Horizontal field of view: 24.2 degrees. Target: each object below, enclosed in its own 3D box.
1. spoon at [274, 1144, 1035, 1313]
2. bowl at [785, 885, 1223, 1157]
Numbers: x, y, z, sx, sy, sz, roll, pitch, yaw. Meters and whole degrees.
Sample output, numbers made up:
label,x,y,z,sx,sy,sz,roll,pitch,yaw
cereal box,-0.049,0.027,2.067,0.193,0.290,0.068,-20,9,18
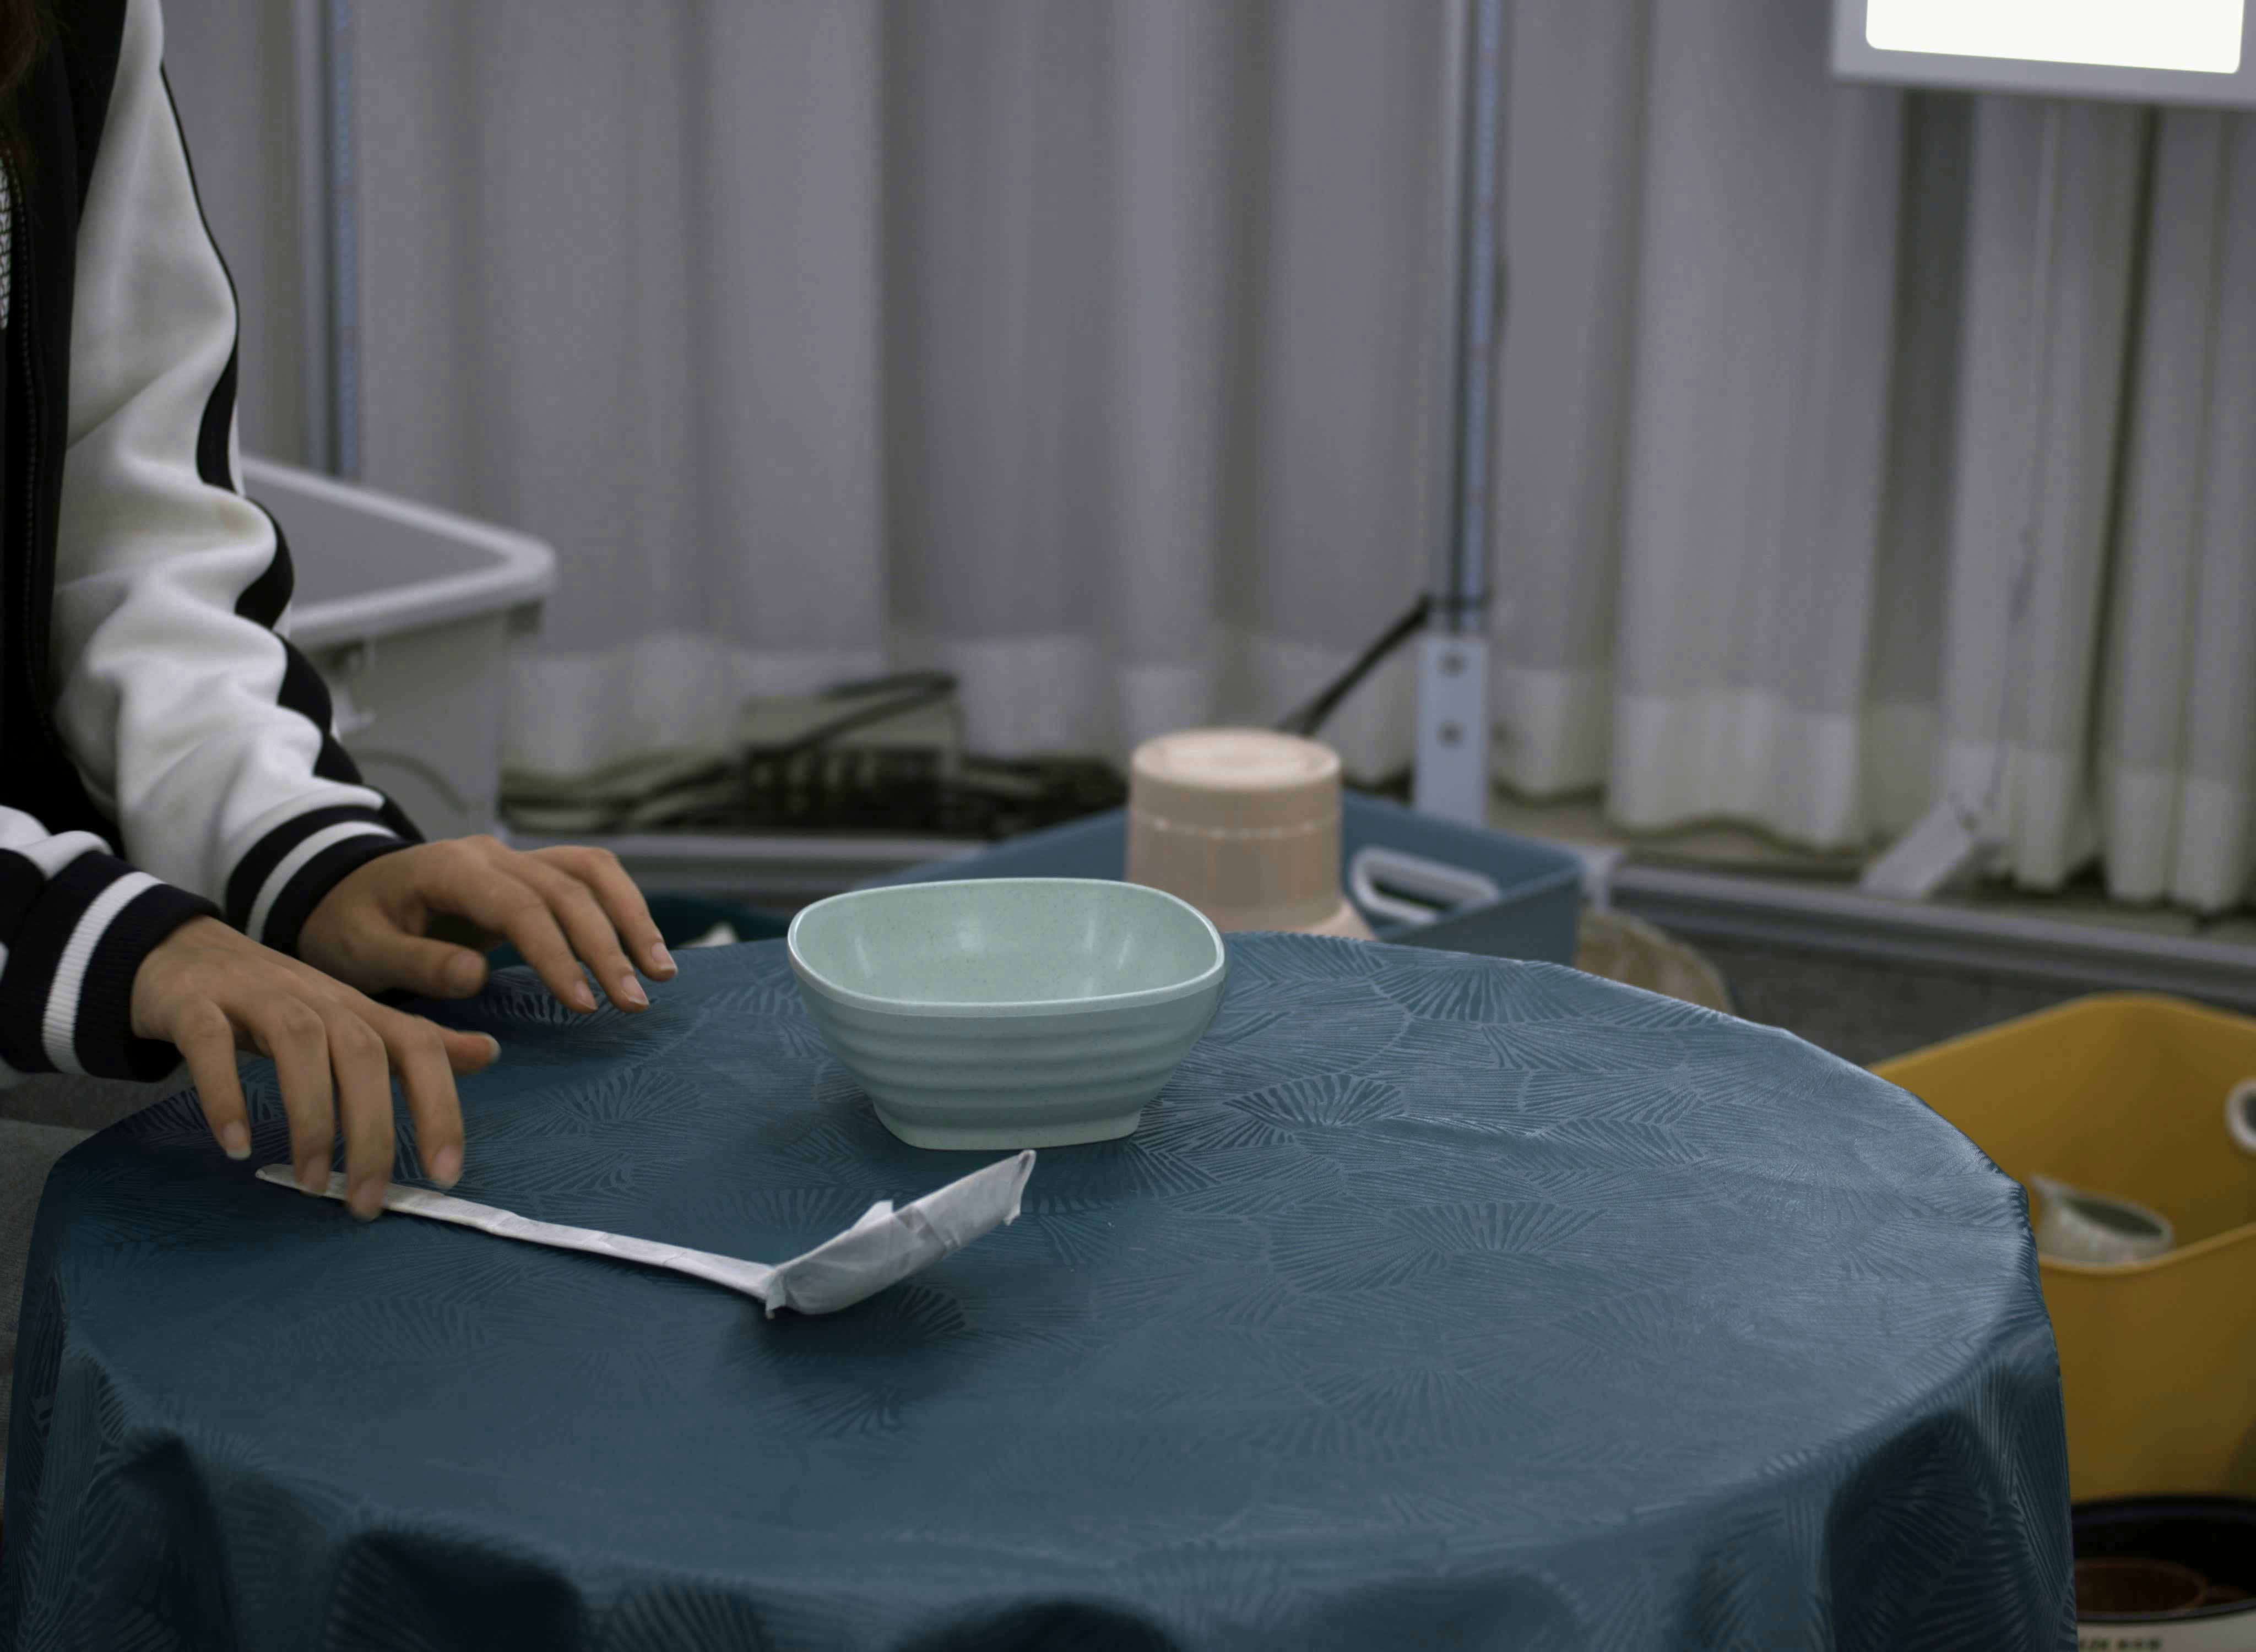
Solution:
label,x,y,z,sx,sy,sz,roll,pitch,yaw
spoon,-0.147,0.098,1.561,0.274,0.060,0.101,11,13,34
bowl,-0.040,0.065,1.690,0.151,0.059,0.150,1,16,0
